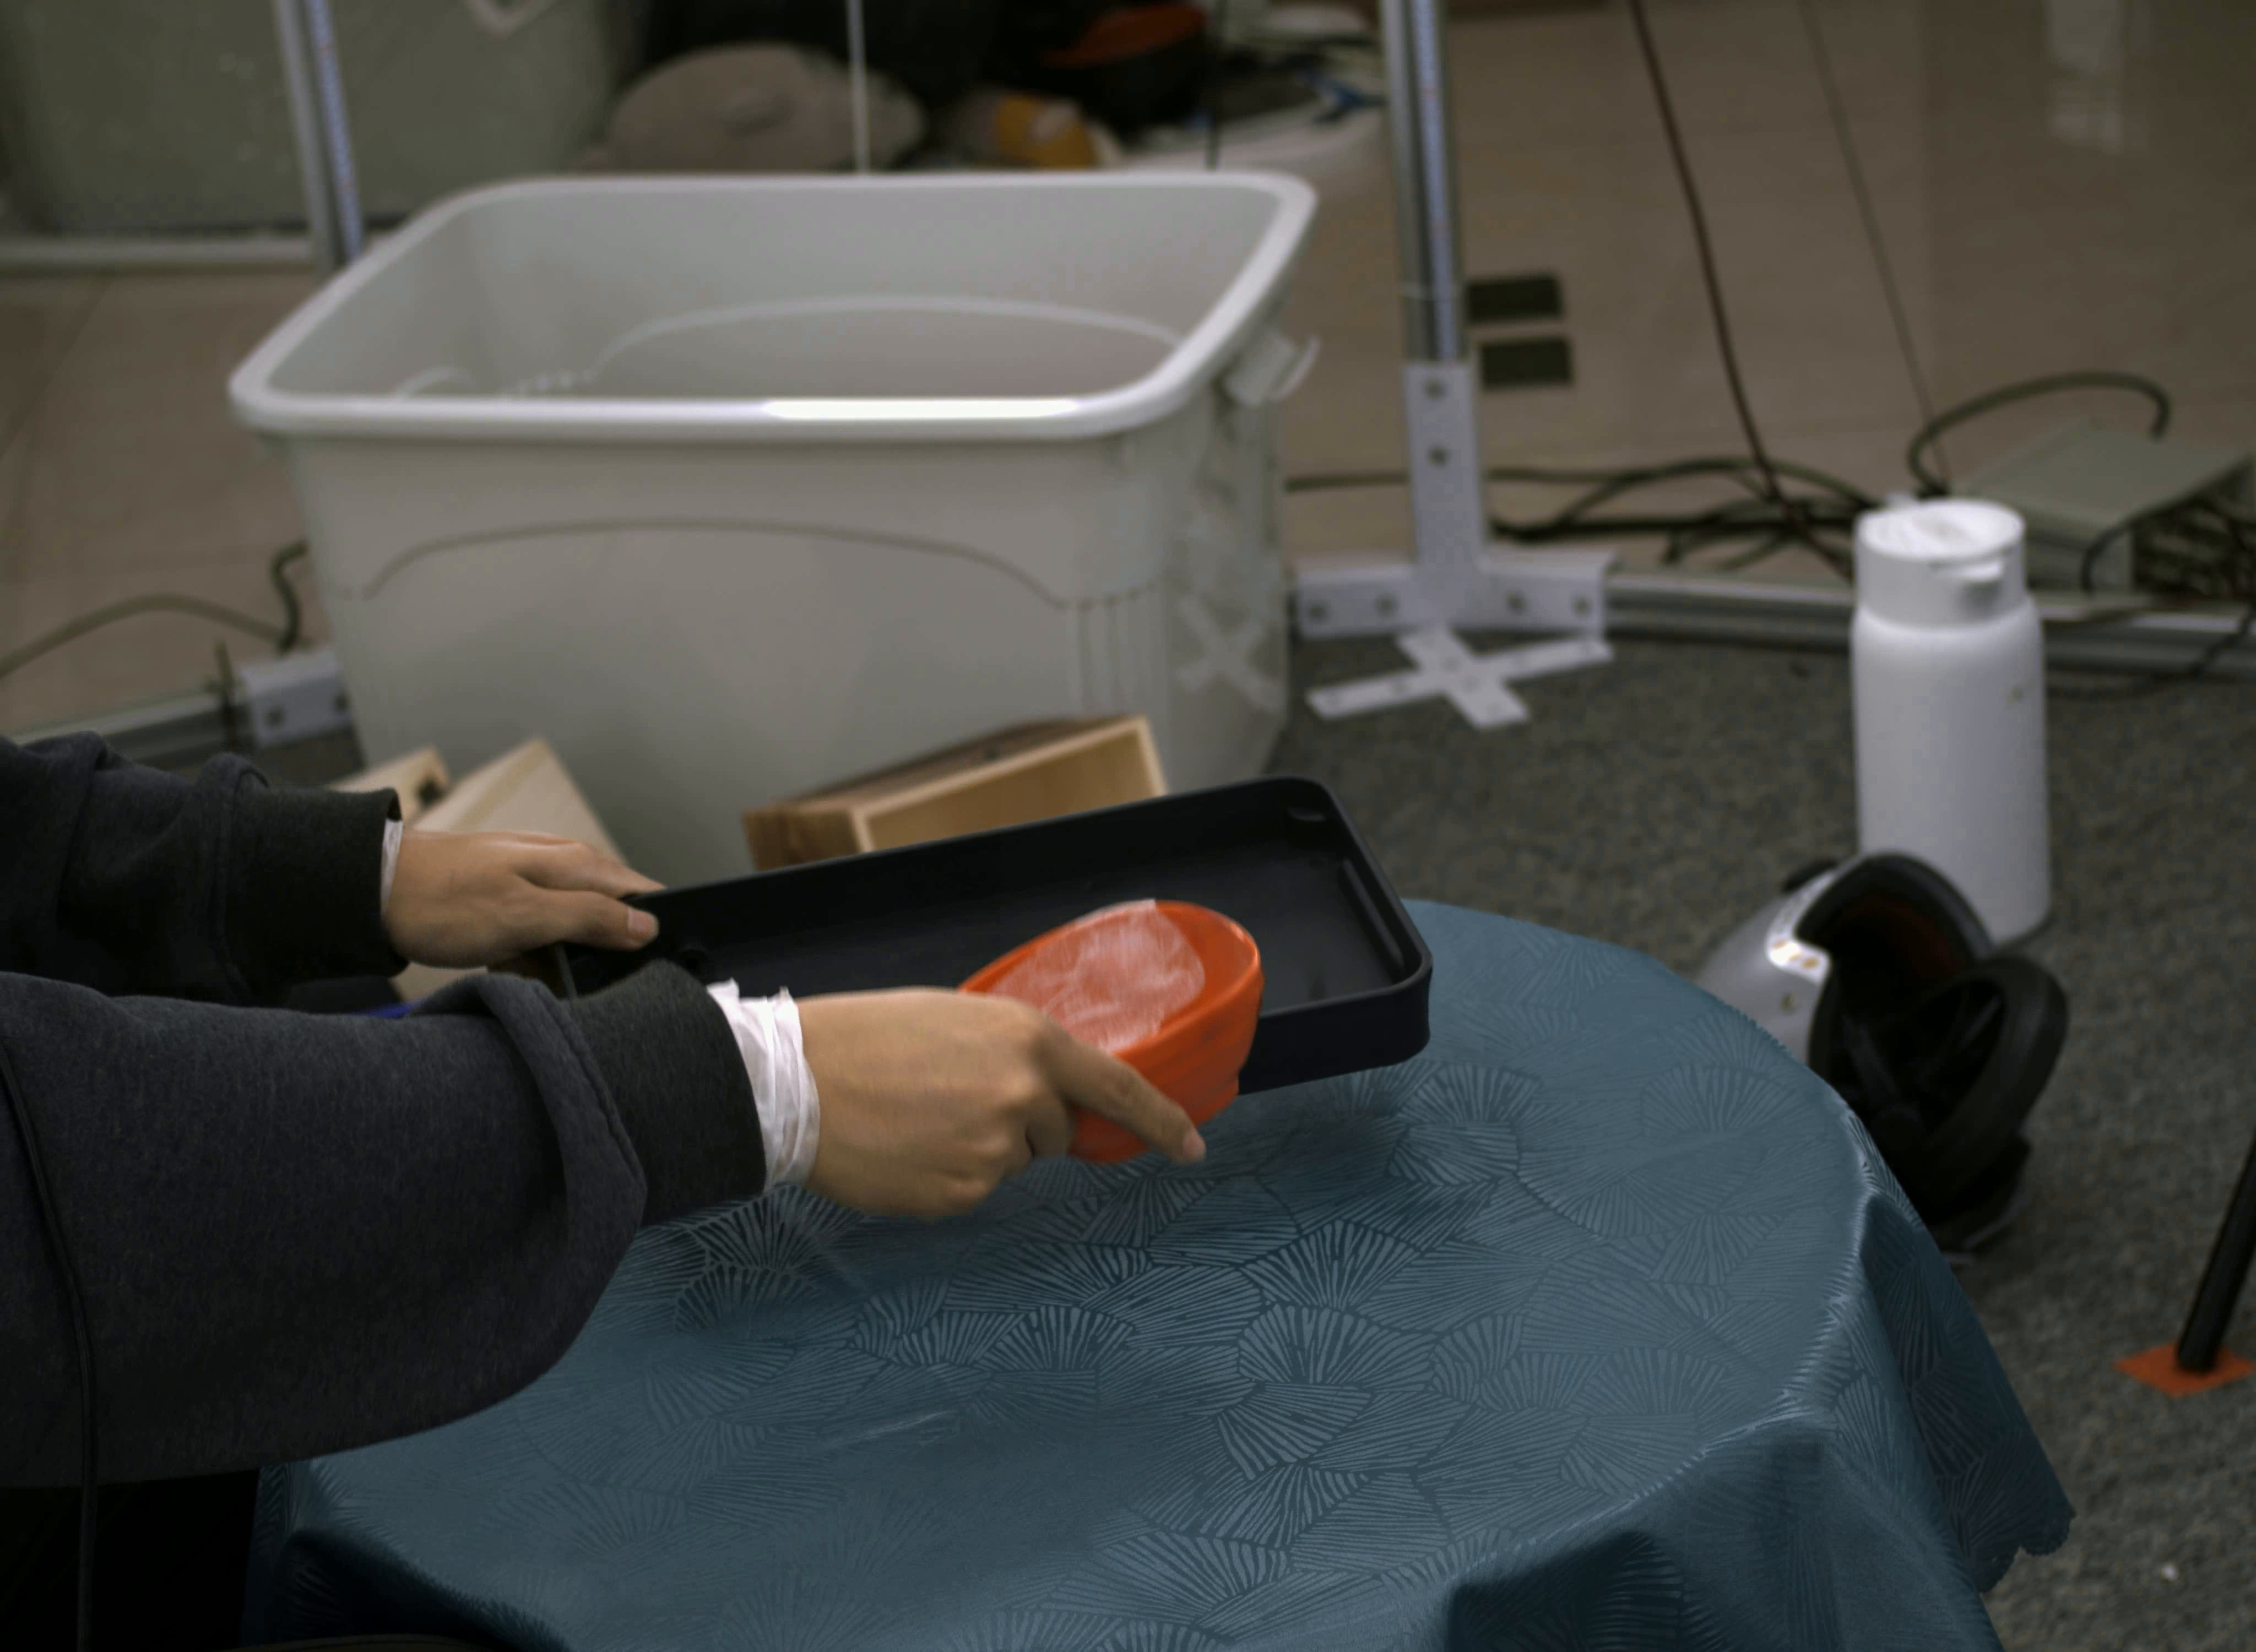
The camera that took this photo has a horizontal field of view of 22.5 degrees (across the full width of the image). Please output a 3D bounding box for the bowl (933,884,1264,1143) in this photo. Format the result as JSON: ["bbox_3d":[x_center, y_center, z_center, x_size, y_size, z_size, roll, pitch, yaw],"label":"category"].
[{"bbox_3d":[-0.005,0.070,1.973,0.119,0.052,0.117,-13,25,6],"label":"bowl"}]

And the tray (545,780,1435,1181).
[{"bbox_3d":[-0.055,0.056,2.163,0.317,0.037,0.181,-9,28,-11],"label":"tray"}]
